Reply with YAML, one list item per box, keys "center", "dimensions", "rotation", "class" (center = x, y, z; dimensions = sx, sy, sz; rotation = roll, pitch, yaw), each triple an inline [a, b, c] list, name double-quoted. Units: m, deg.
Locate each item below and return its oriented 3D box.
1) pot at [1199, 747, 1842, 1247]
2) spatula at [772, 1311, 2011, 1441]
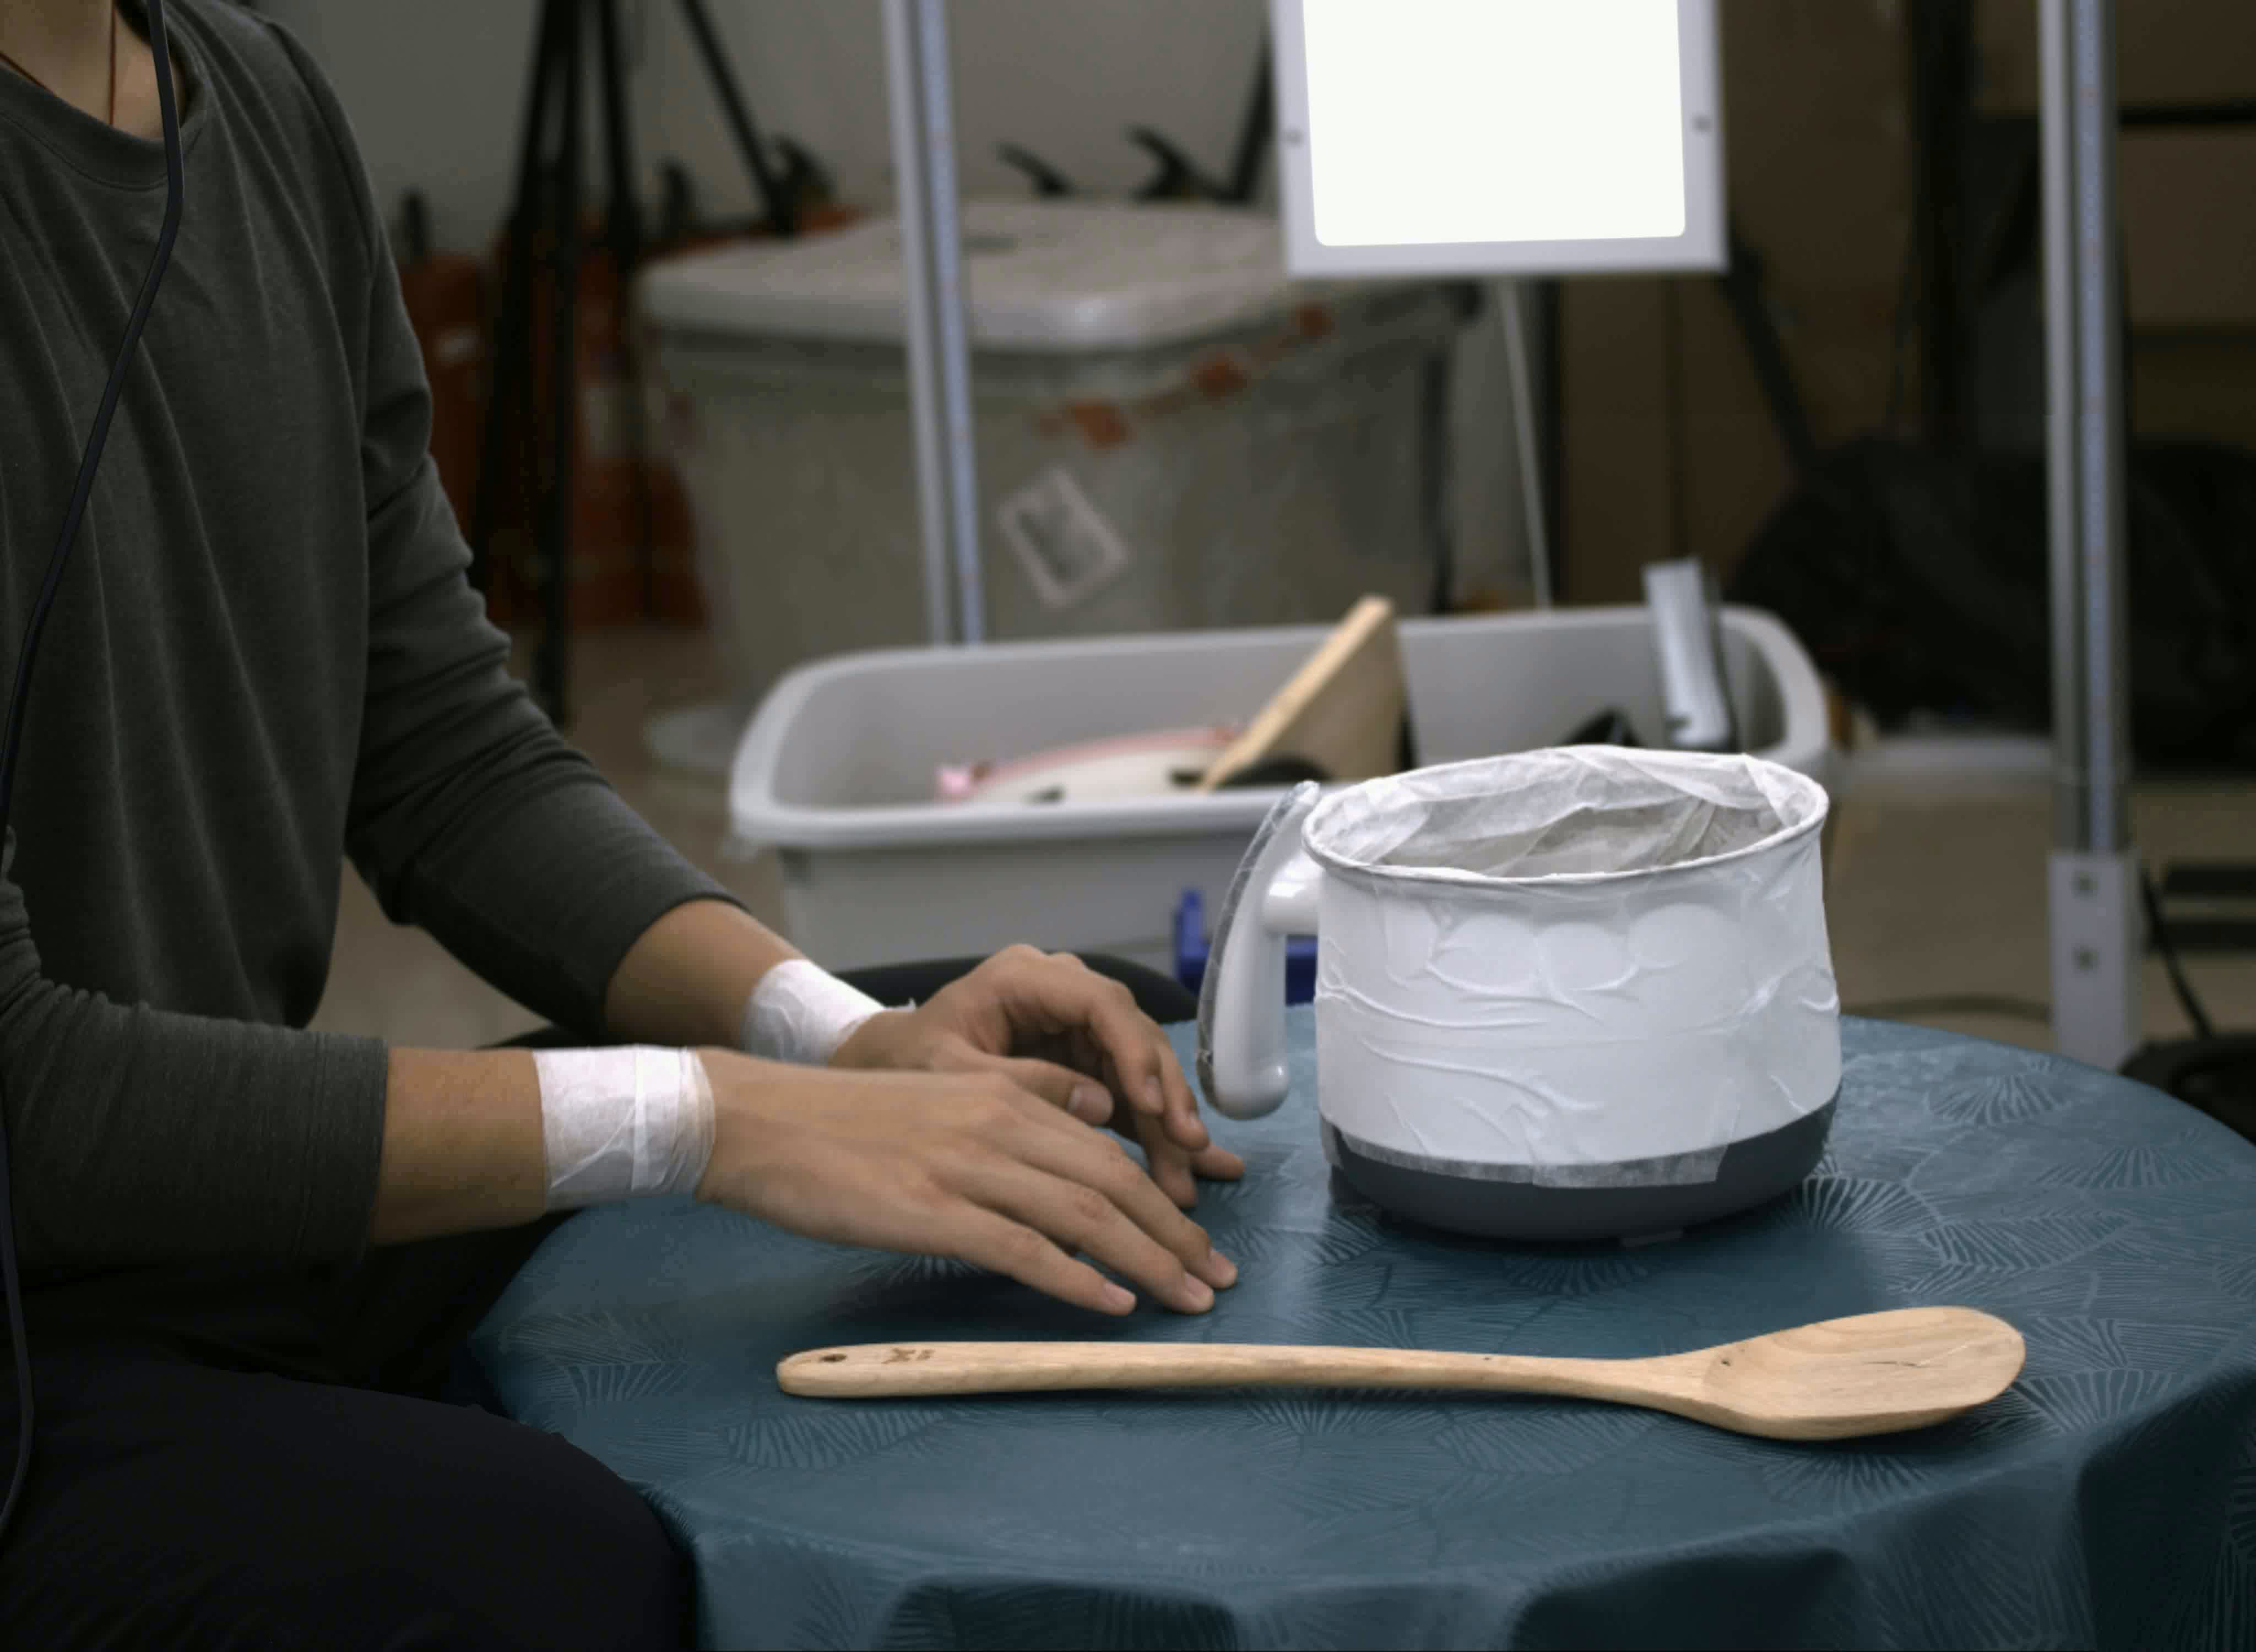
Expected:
- center: [0.127, 0.054, 1.862]
  dimensions: [0.238, 0.137, 0.174]
  rotation: [3, 16, 31]
  class: "pot"
- center: [0.076, 0.167, 1.672]
  dimensions: [0.395, 0.018, 0.094]
  rotation: [-1, 13, 17]
  class: "spatula"
